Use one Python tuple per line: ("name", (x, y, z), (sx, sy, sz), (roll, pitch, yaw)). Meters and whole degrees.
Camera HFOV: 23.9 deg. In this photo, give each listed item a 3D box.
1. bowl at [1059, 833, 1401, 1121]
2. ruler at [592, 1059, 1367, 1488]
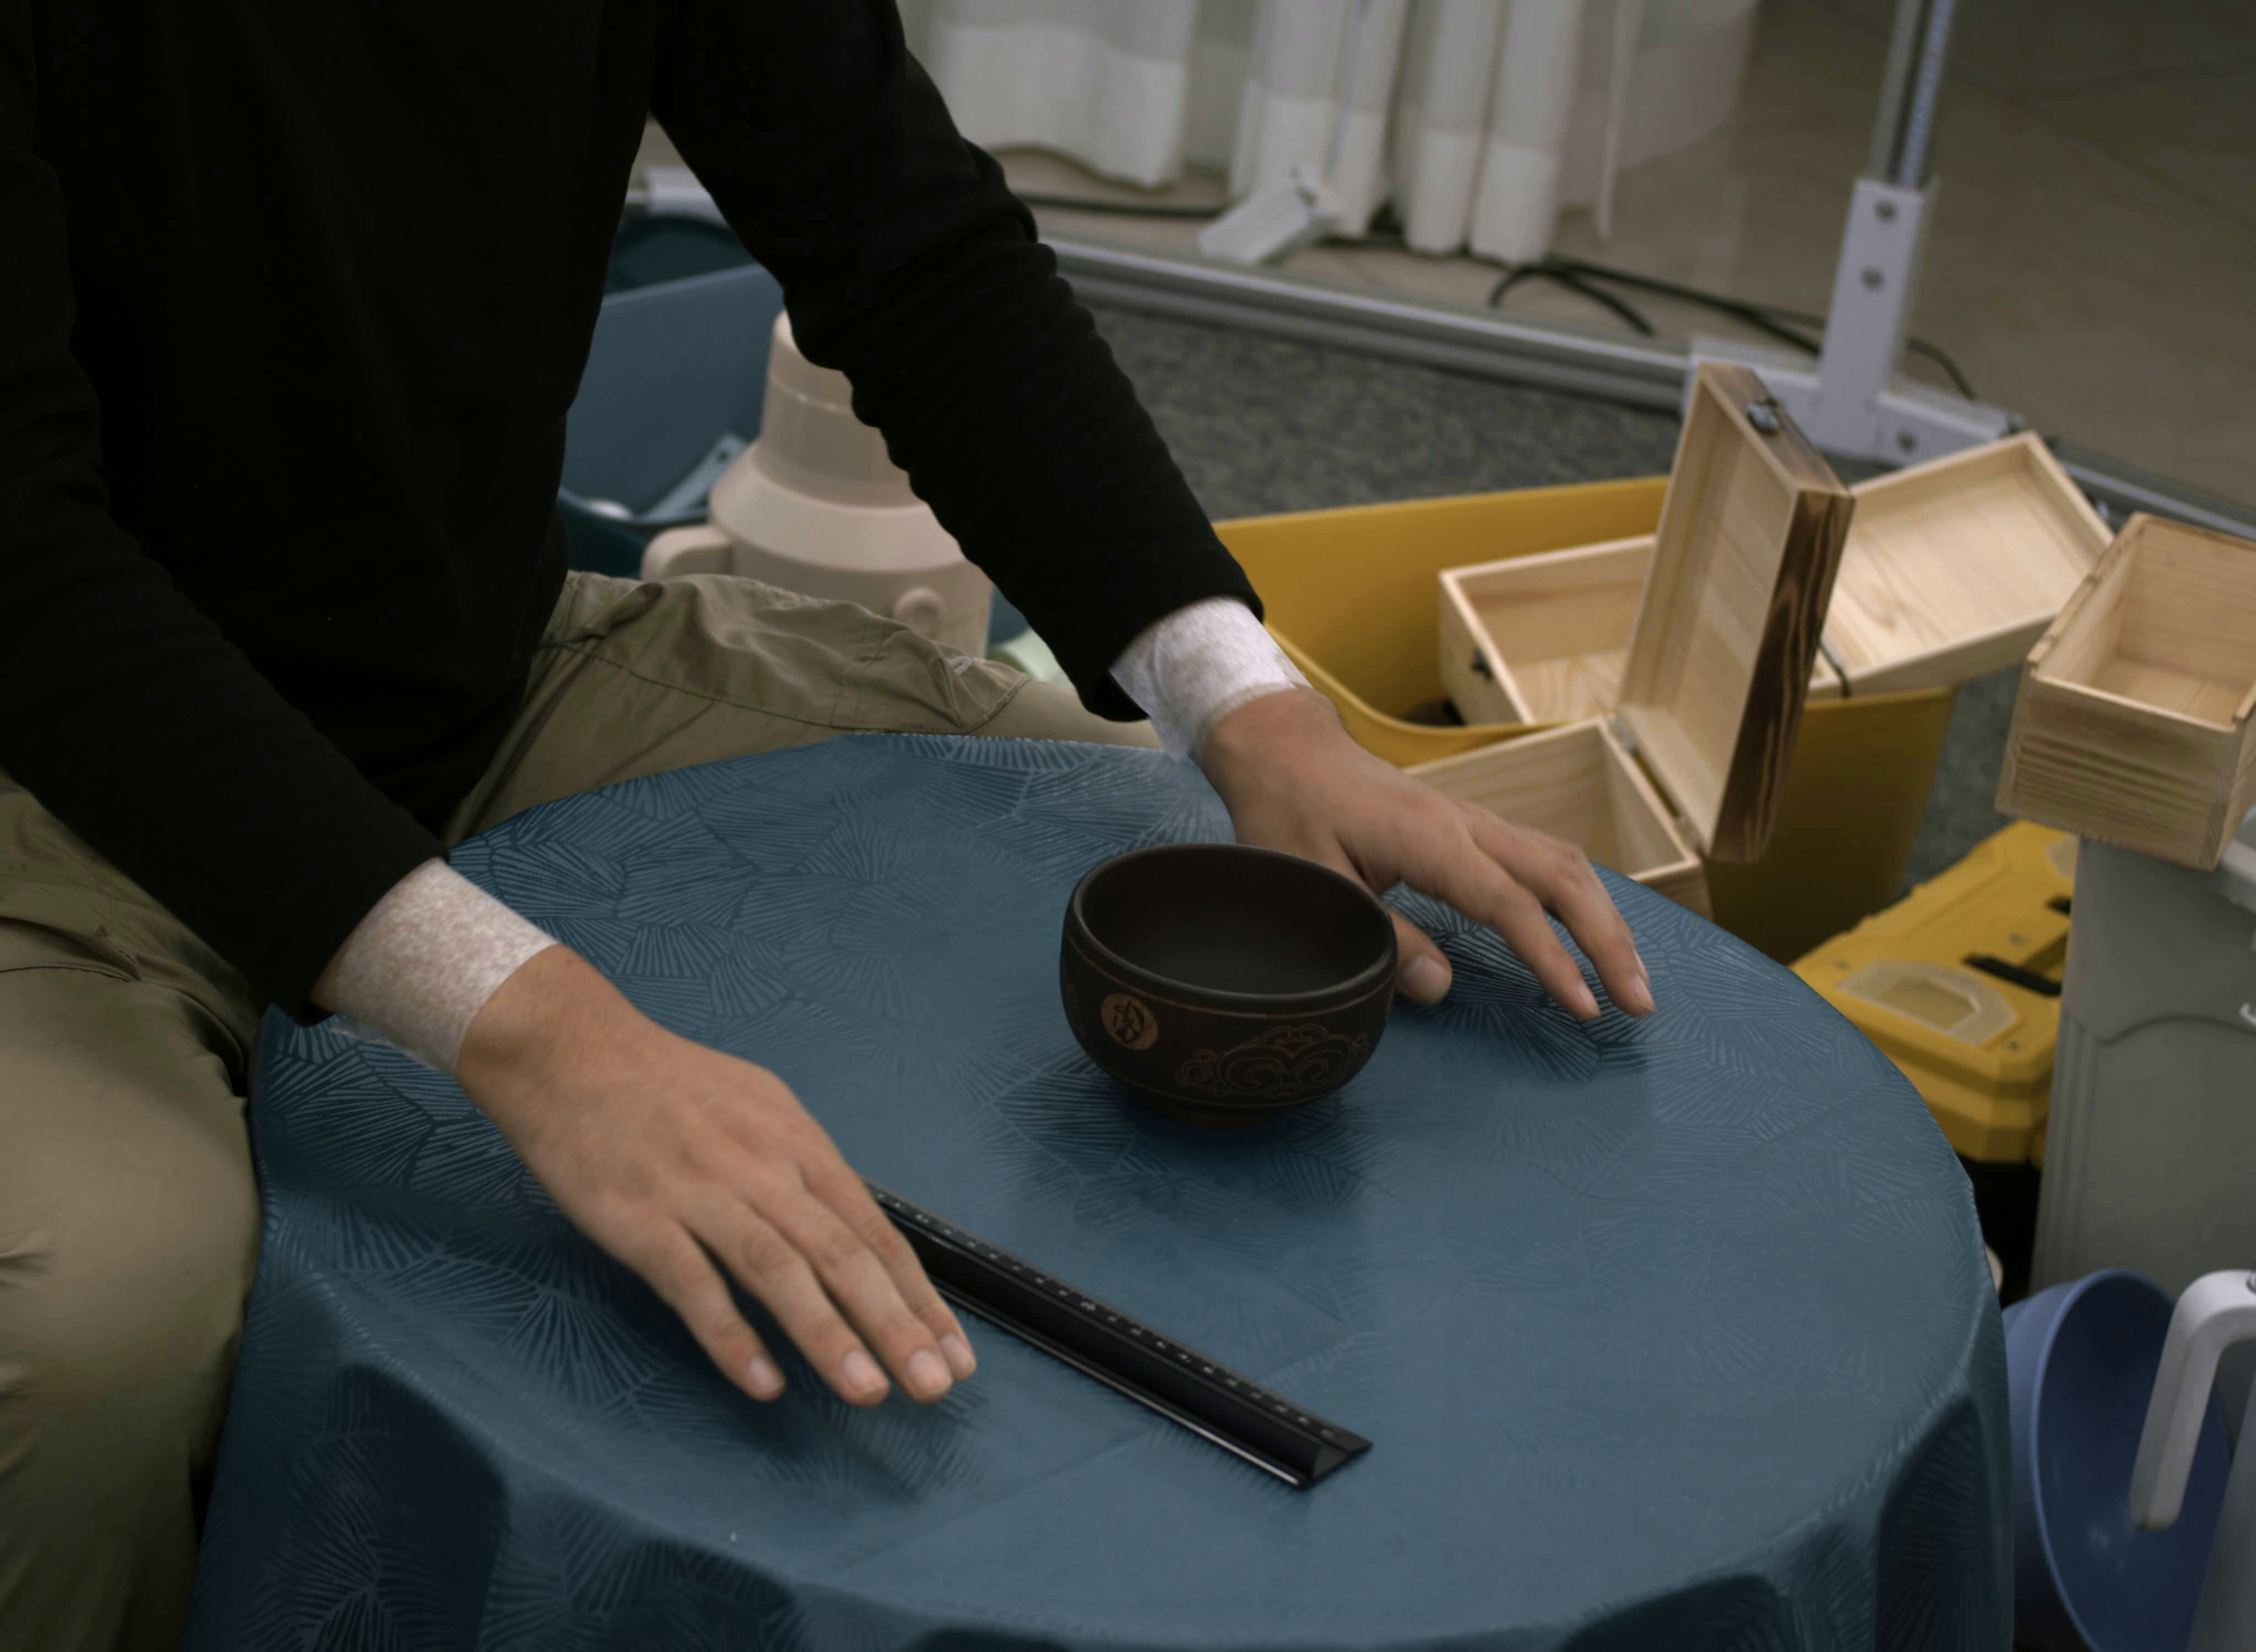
("bowl", (0.033, 0.059, 1.855), (0.117, 0.069, 0.119), (6, 27, -3))
("ruler", (-0.052, 0.139, 1.743), (0.314, 0.017, 0.039), (25, 28, 33))
